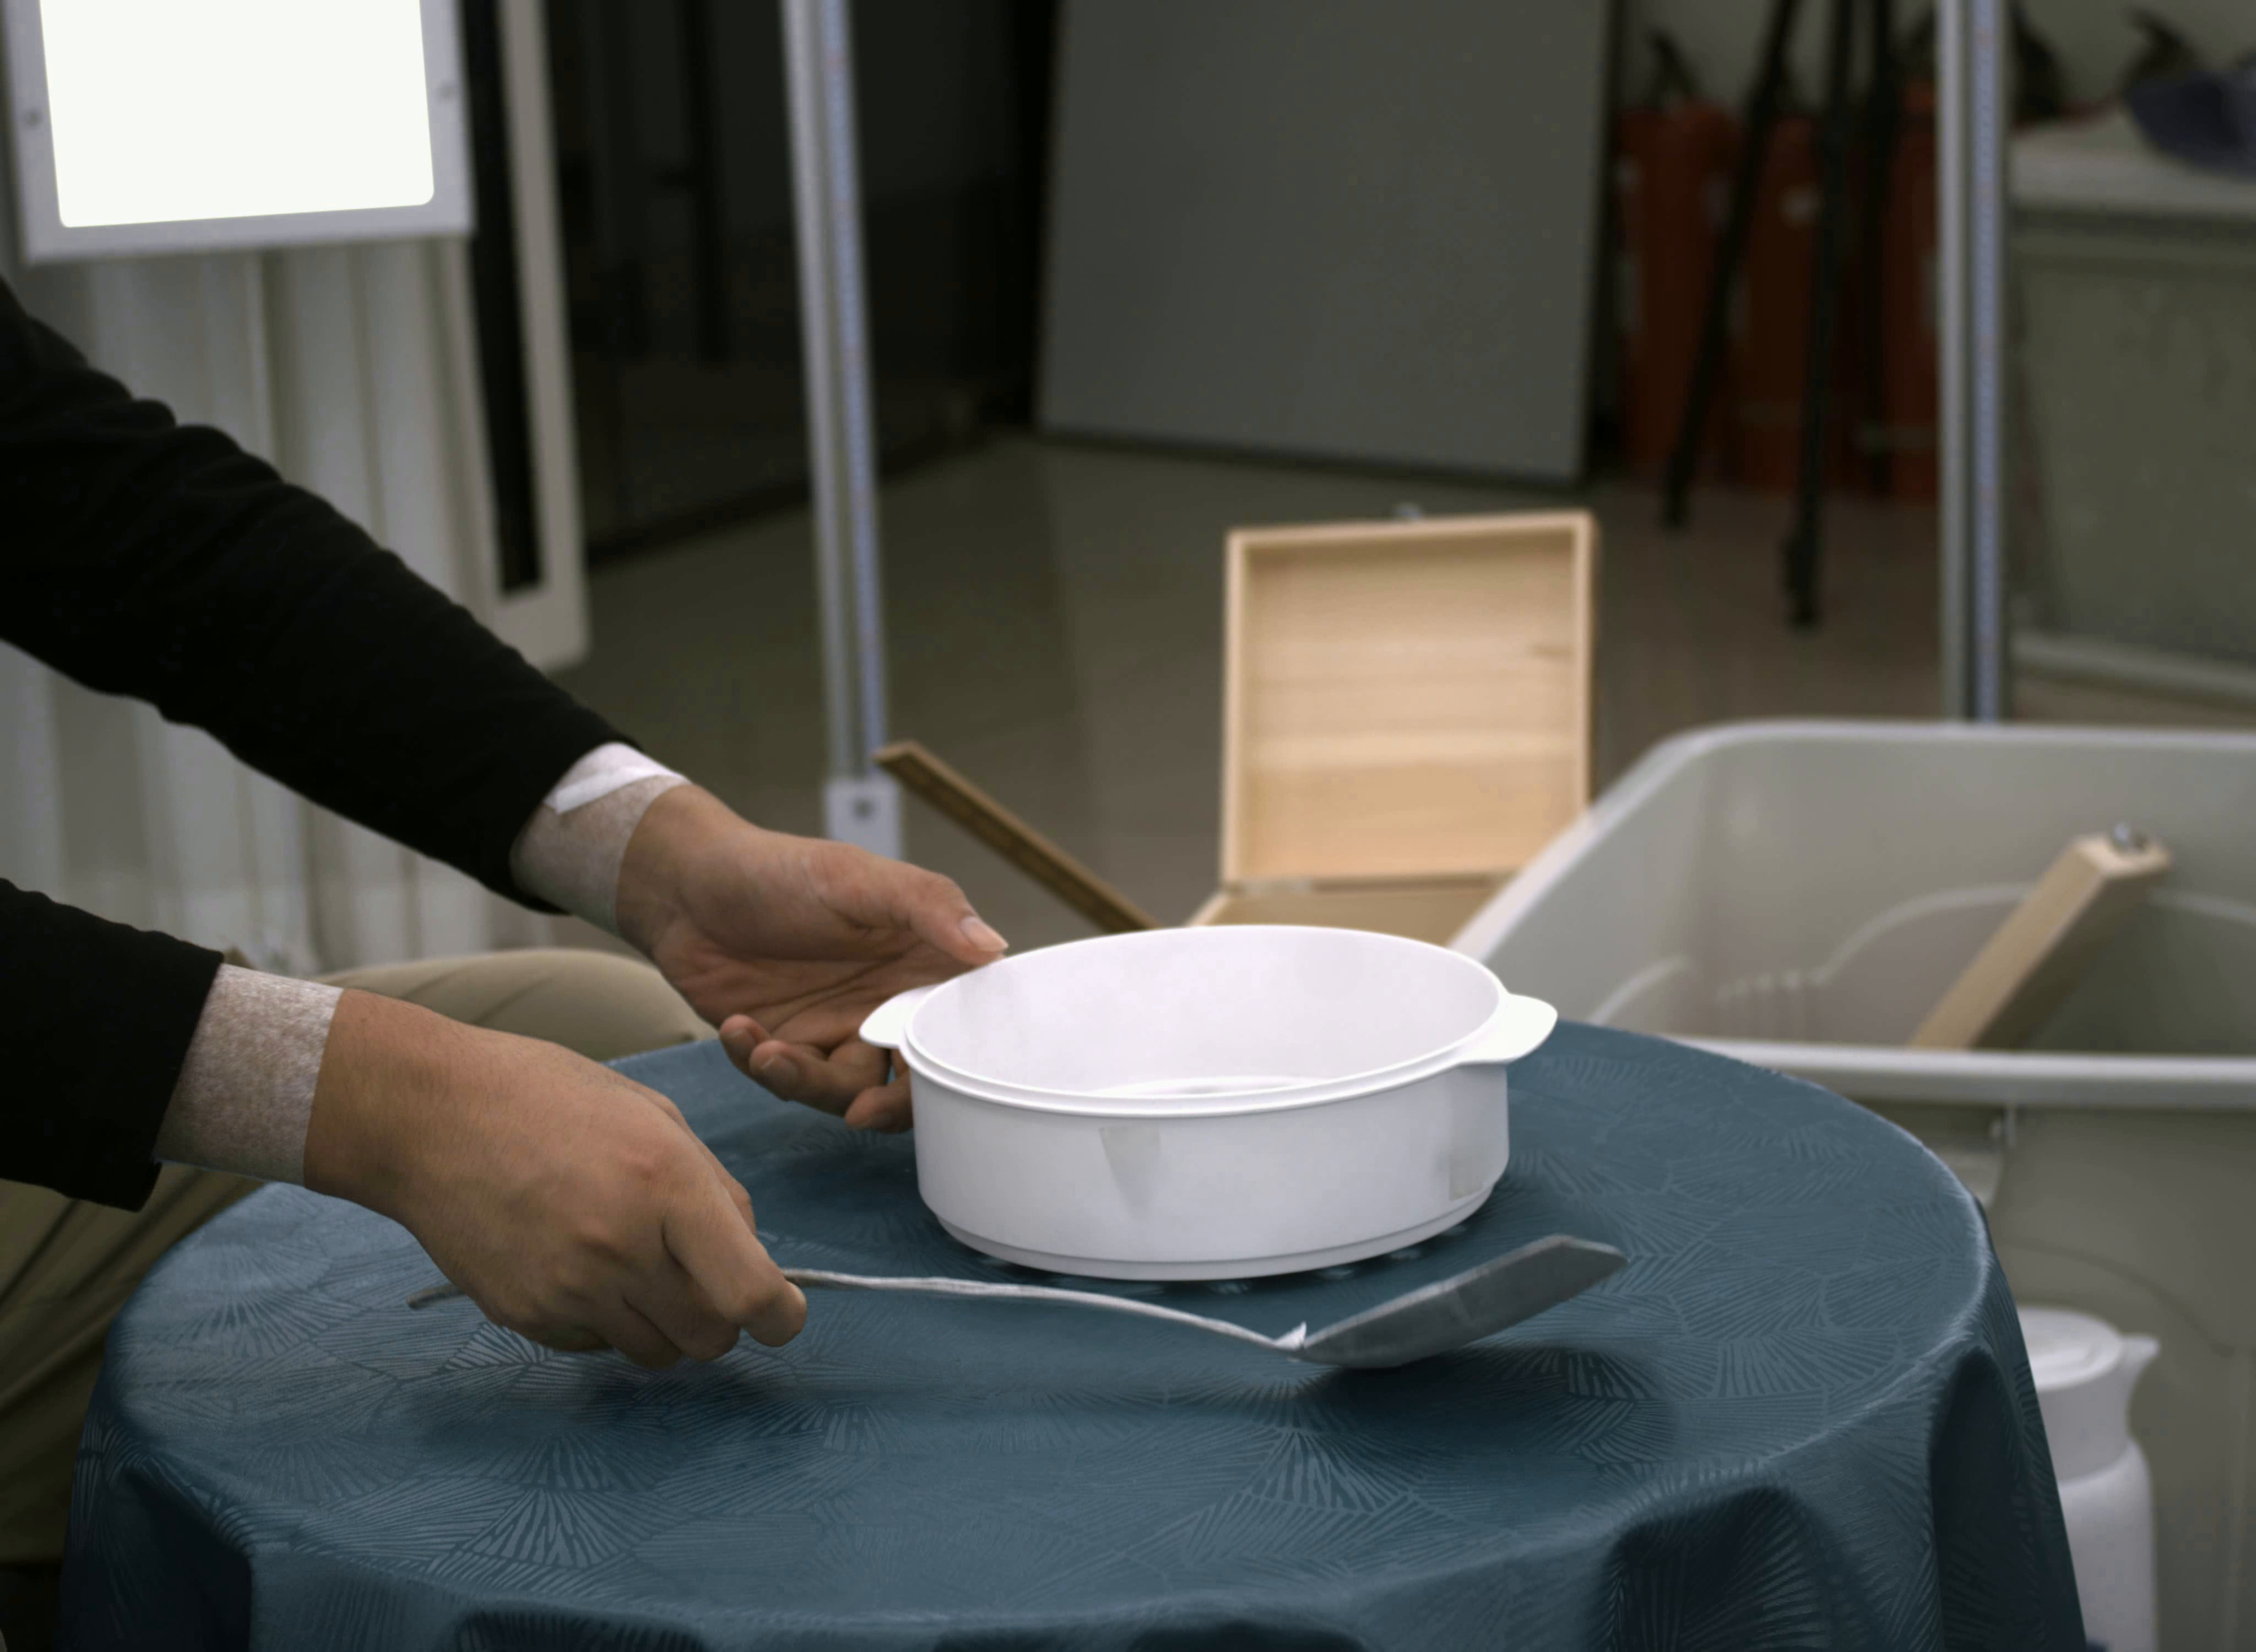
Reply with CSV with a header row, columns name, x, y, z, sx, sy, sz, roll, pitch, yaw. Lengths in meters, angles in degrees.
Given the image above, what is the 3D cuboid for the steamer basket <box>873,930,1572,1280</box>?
name,x,y,z,sx,sy,sz,roll,pitch,yaw
steamer basket,0.031,0.089,1.743,0.230,0.070,0.200,-1,13,18

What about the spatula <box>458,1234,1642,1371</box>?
name,x,y,z,sx,sy,sz,roll,pitch,yaw
spatula,-0.030,0.136,1.592,0.363,0.045,0.098,2,-7,15
